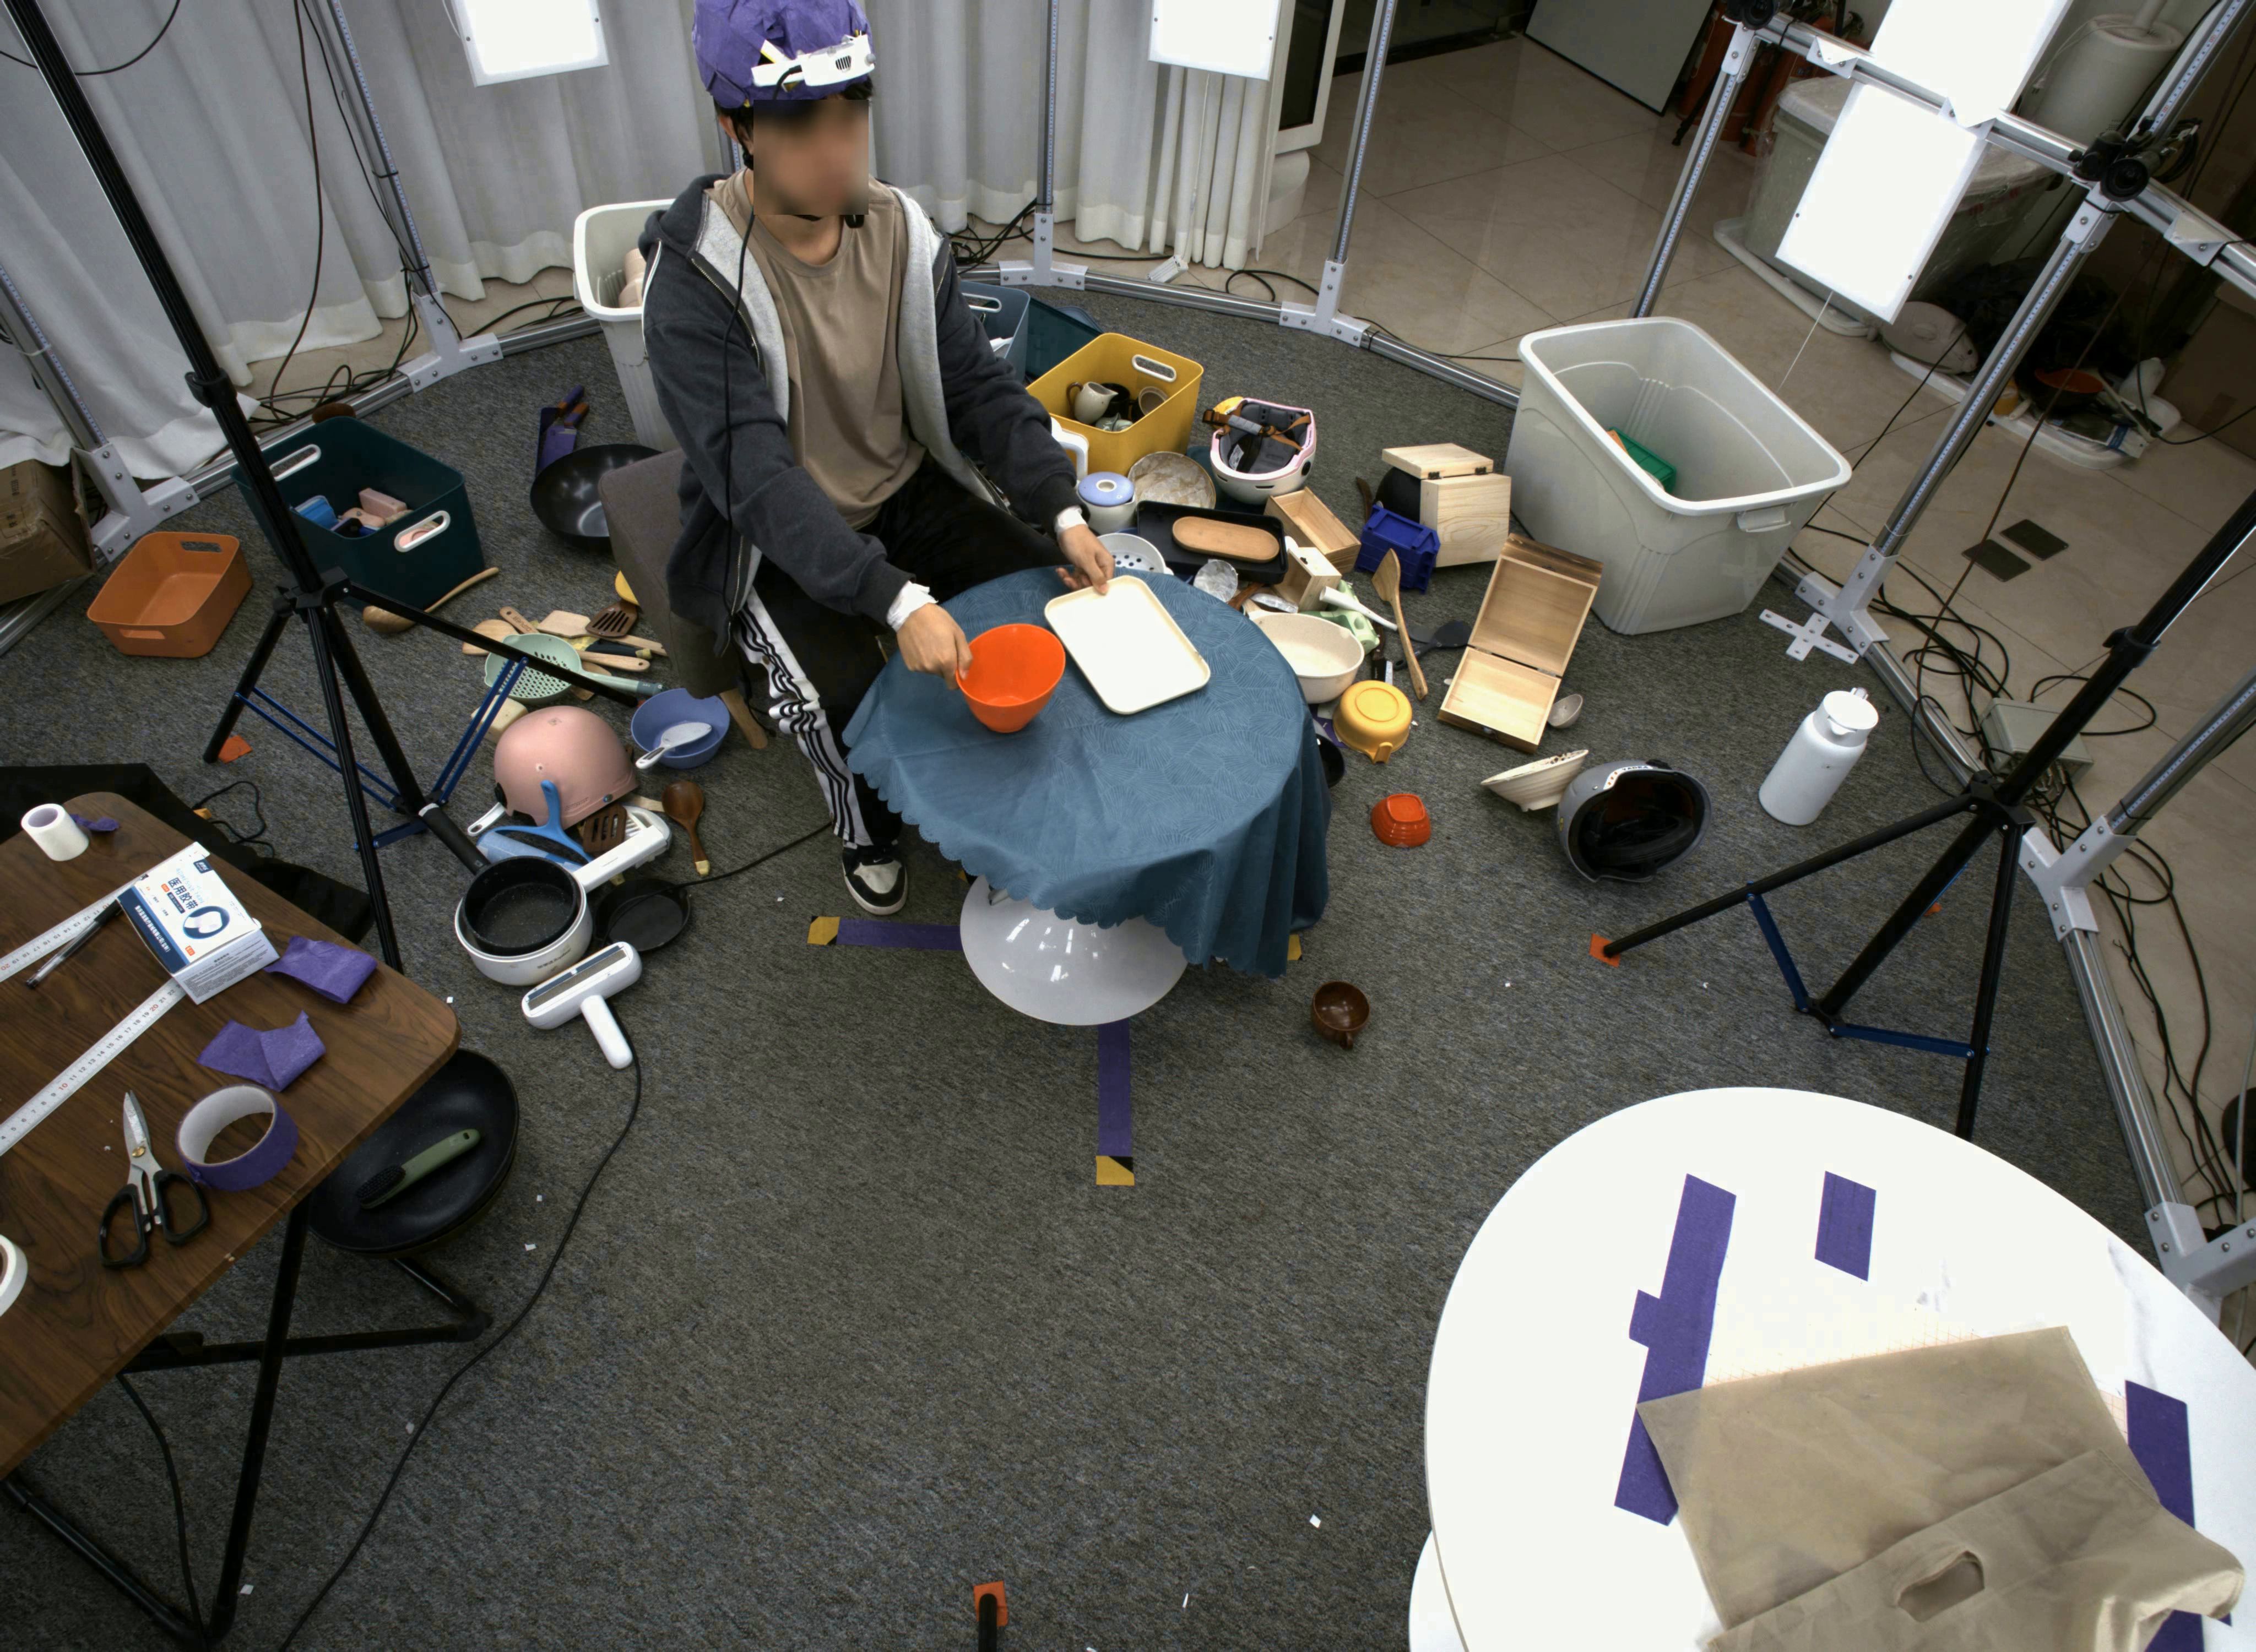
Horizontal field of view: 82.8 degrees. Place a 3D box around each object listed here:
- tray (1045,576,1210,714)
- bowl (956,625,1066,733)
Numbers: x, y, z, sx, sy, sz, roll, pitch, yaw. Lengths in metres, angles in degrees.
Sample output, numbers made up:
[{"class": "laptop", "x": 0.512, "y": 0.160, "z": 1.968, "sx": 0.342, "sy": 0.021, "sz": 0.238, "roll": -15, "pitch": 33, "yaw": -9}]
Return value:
[{"class": "tray", "x": -0.002, "y": -0.266, "z": 1.874, "sx": 0.172, "sy": 0.017, "sz": 0.244, "roll": -22, "pitch": 59, "yaw": -20}, {"class": "bowl", "x": -0.159, "y": -0.190, "z": 1.752, "sx": 0.148, "sy": 0.102, "sz": 0.152, "roll": 2, "pitch": 48, "yaw": -2}]
